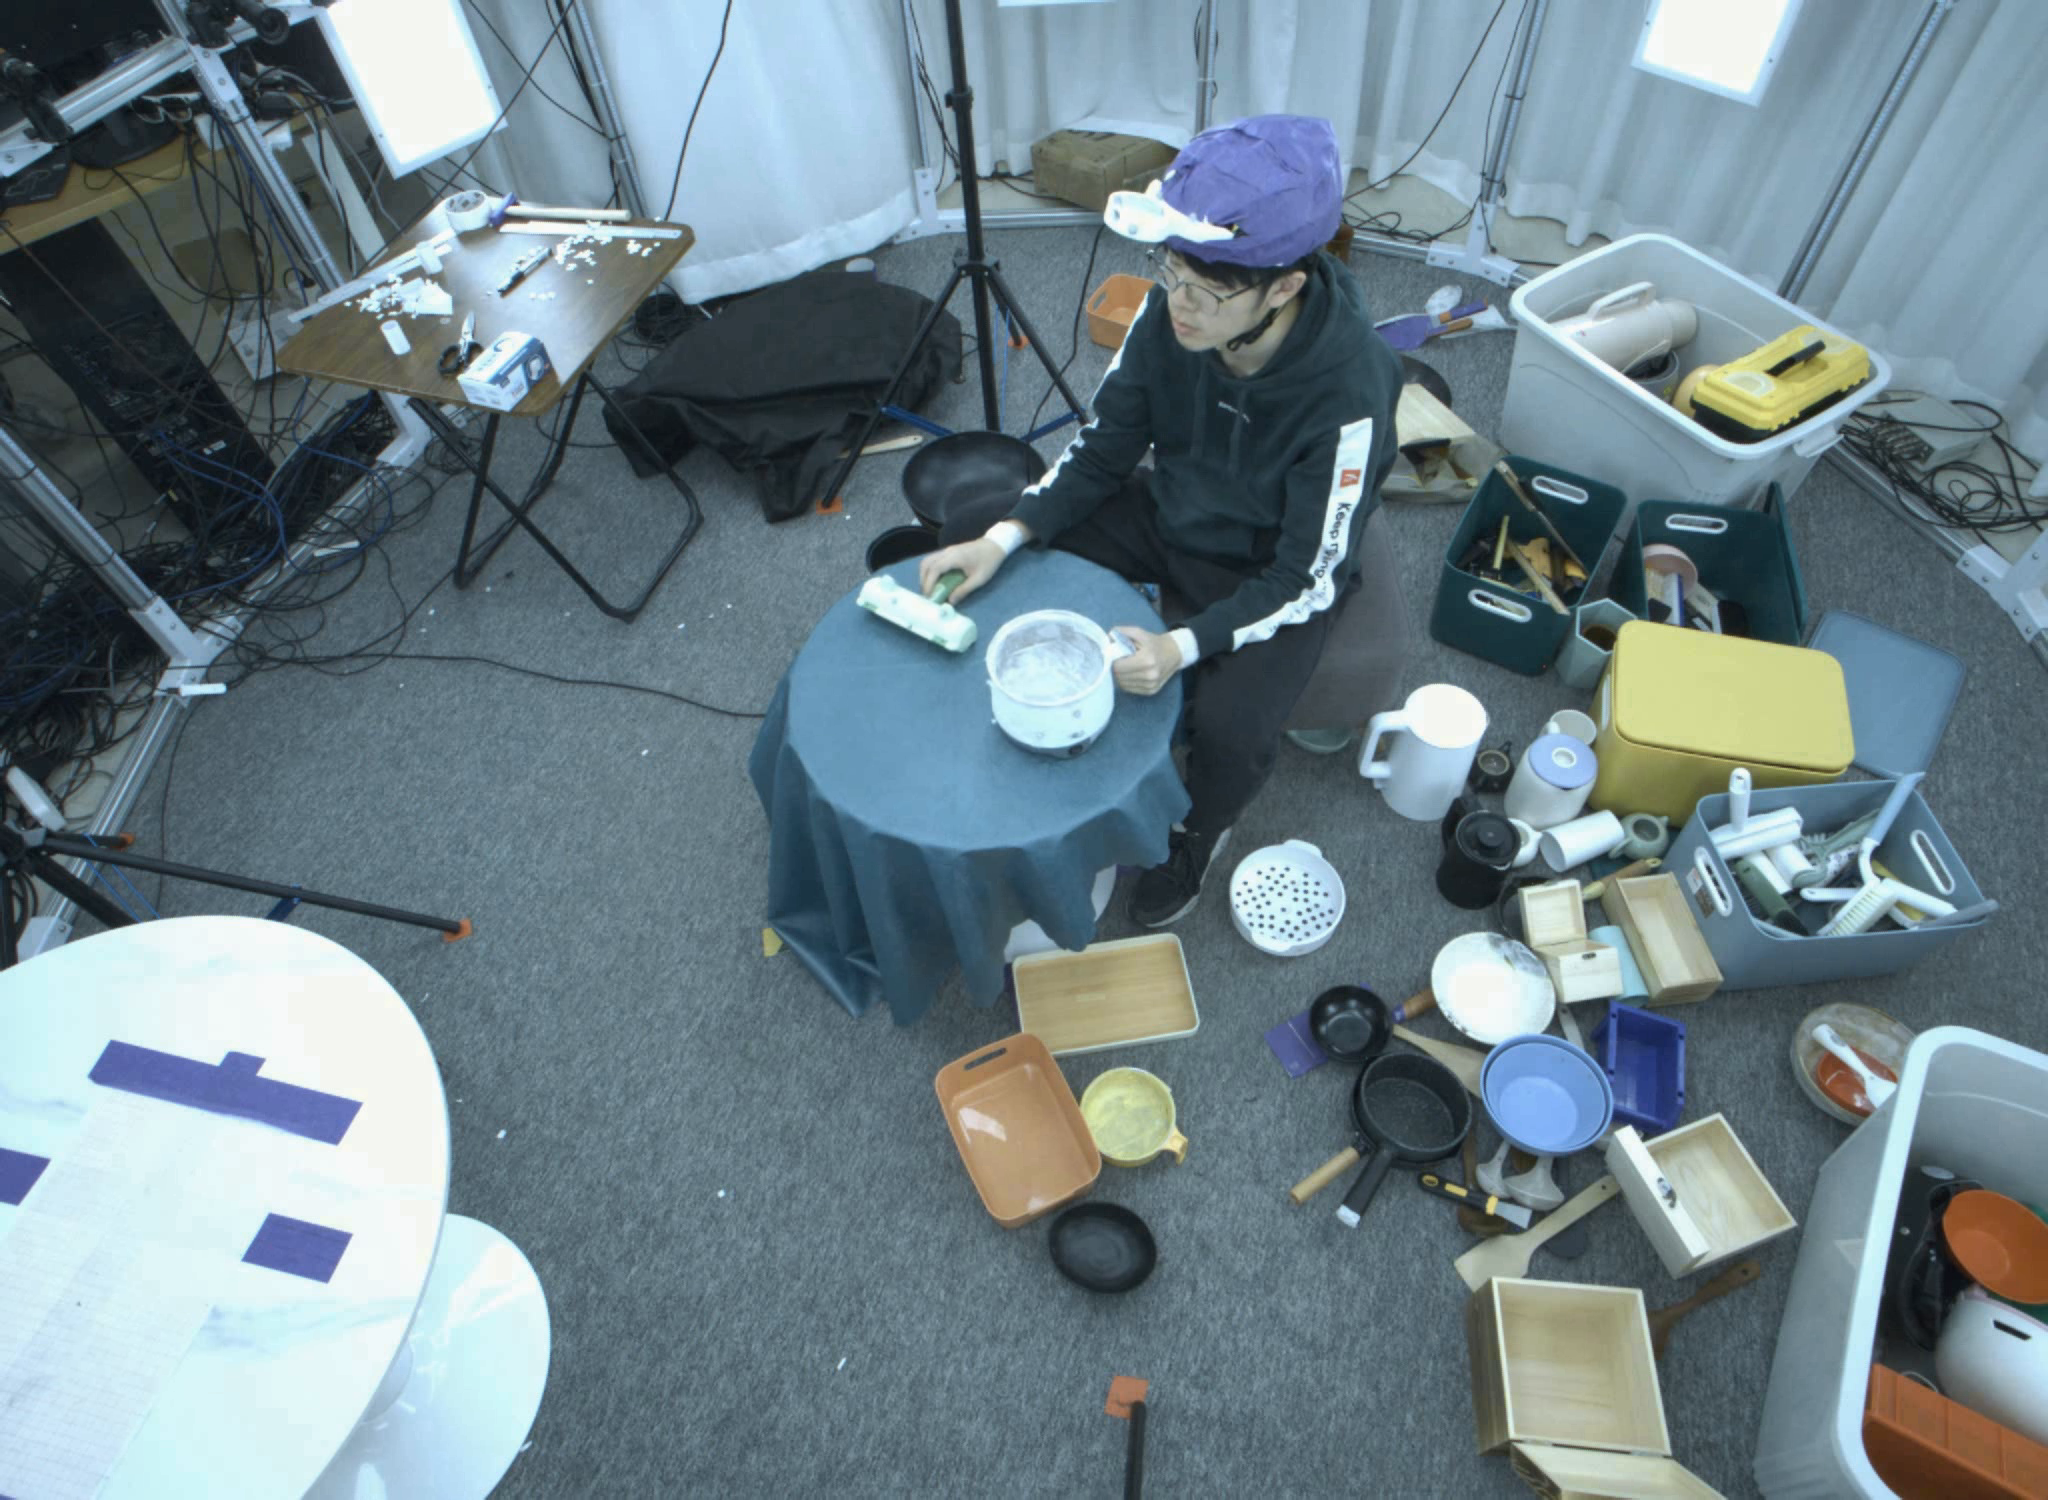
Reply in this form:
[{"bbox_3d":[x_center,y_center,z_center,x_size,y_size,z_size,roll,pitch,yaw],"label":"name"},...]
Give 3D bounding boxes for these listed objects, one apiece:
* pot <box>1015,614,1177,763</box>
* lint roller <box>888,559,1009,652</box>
[{"bbox_3d":[0.107,-0.095,1.761,0.235,0.138,0.175,-19,56,-9],"label":"pot"},{"bbox_3d":[-0.086,-0.255,1.921,0.195,0.083,0.184,29,66,21],"label":"lint roller"}]
